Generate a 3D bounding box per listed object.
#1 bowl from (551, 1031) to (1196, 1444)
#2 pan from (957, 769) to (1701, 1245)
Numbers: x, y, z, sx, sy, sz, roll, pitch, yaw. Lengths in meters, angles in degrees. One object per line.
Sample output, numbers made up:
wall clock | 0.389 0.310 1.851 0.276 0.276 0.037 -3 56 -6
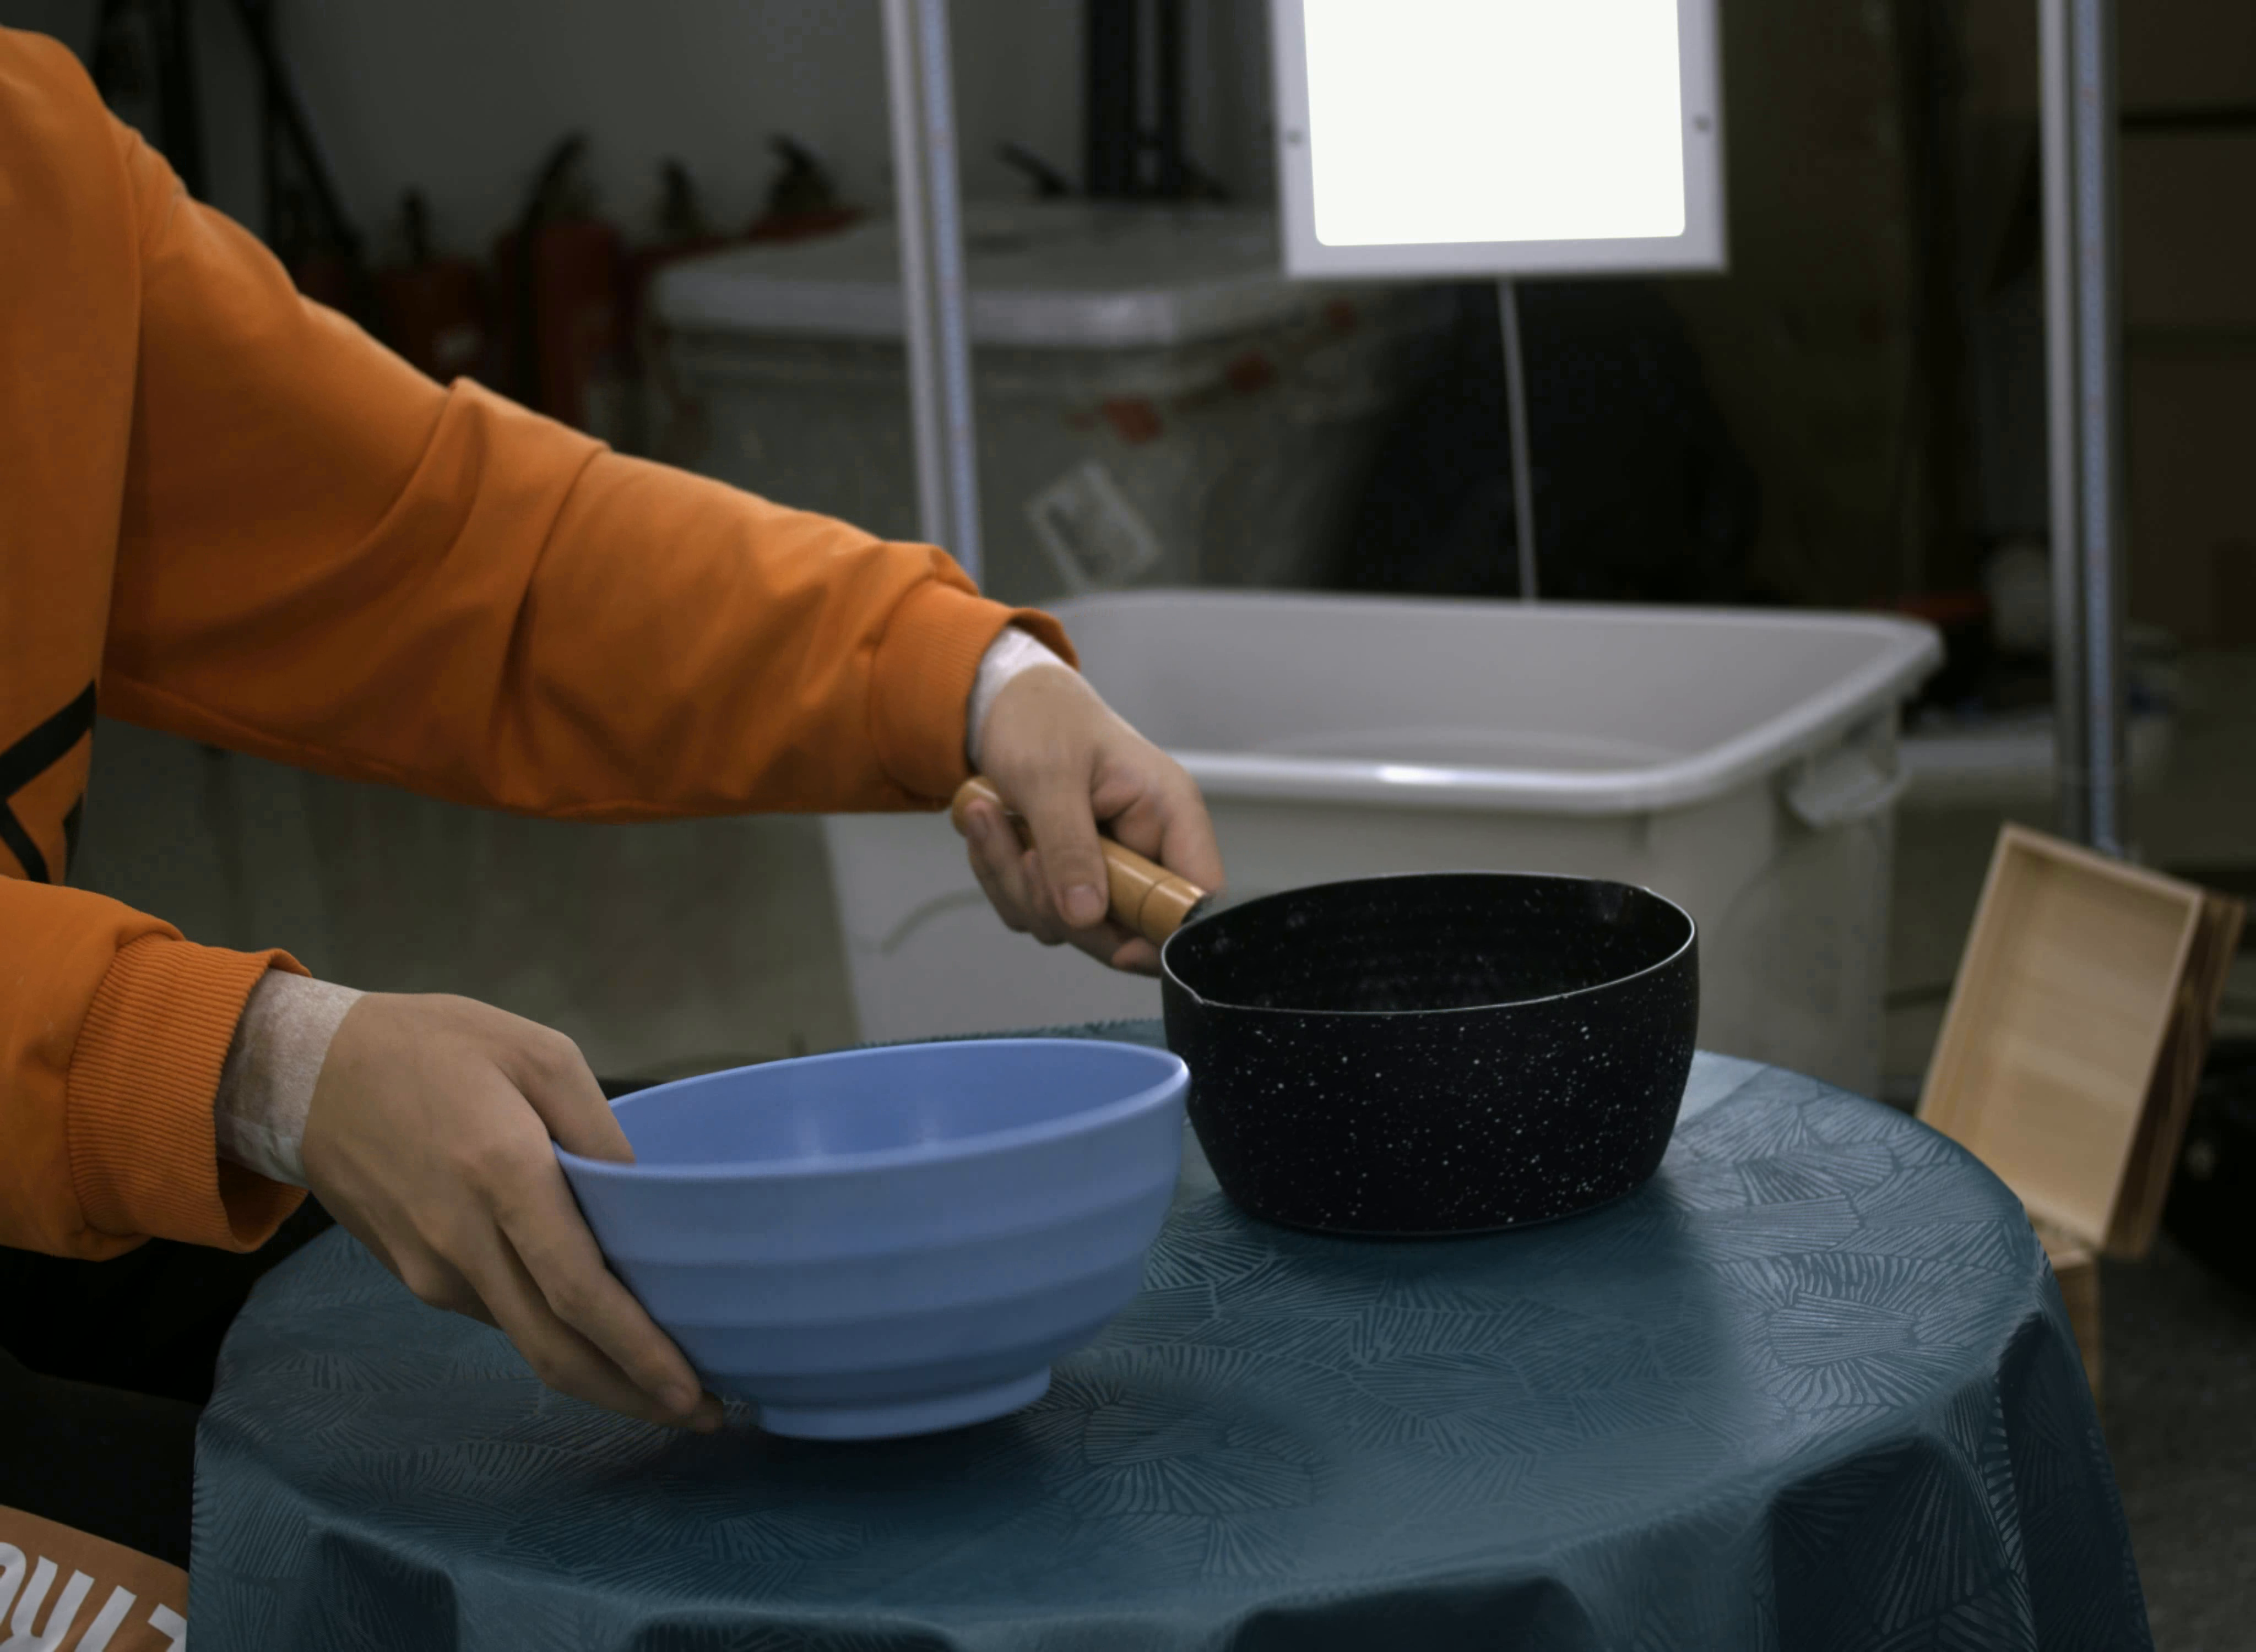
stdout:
bowl | -0.073 0.129 1.671 0.196 0.096 0.196 -5 9 0
pan | 0.052 0.057 1.932 0.202 0.108 0.350 -16 19 -37
